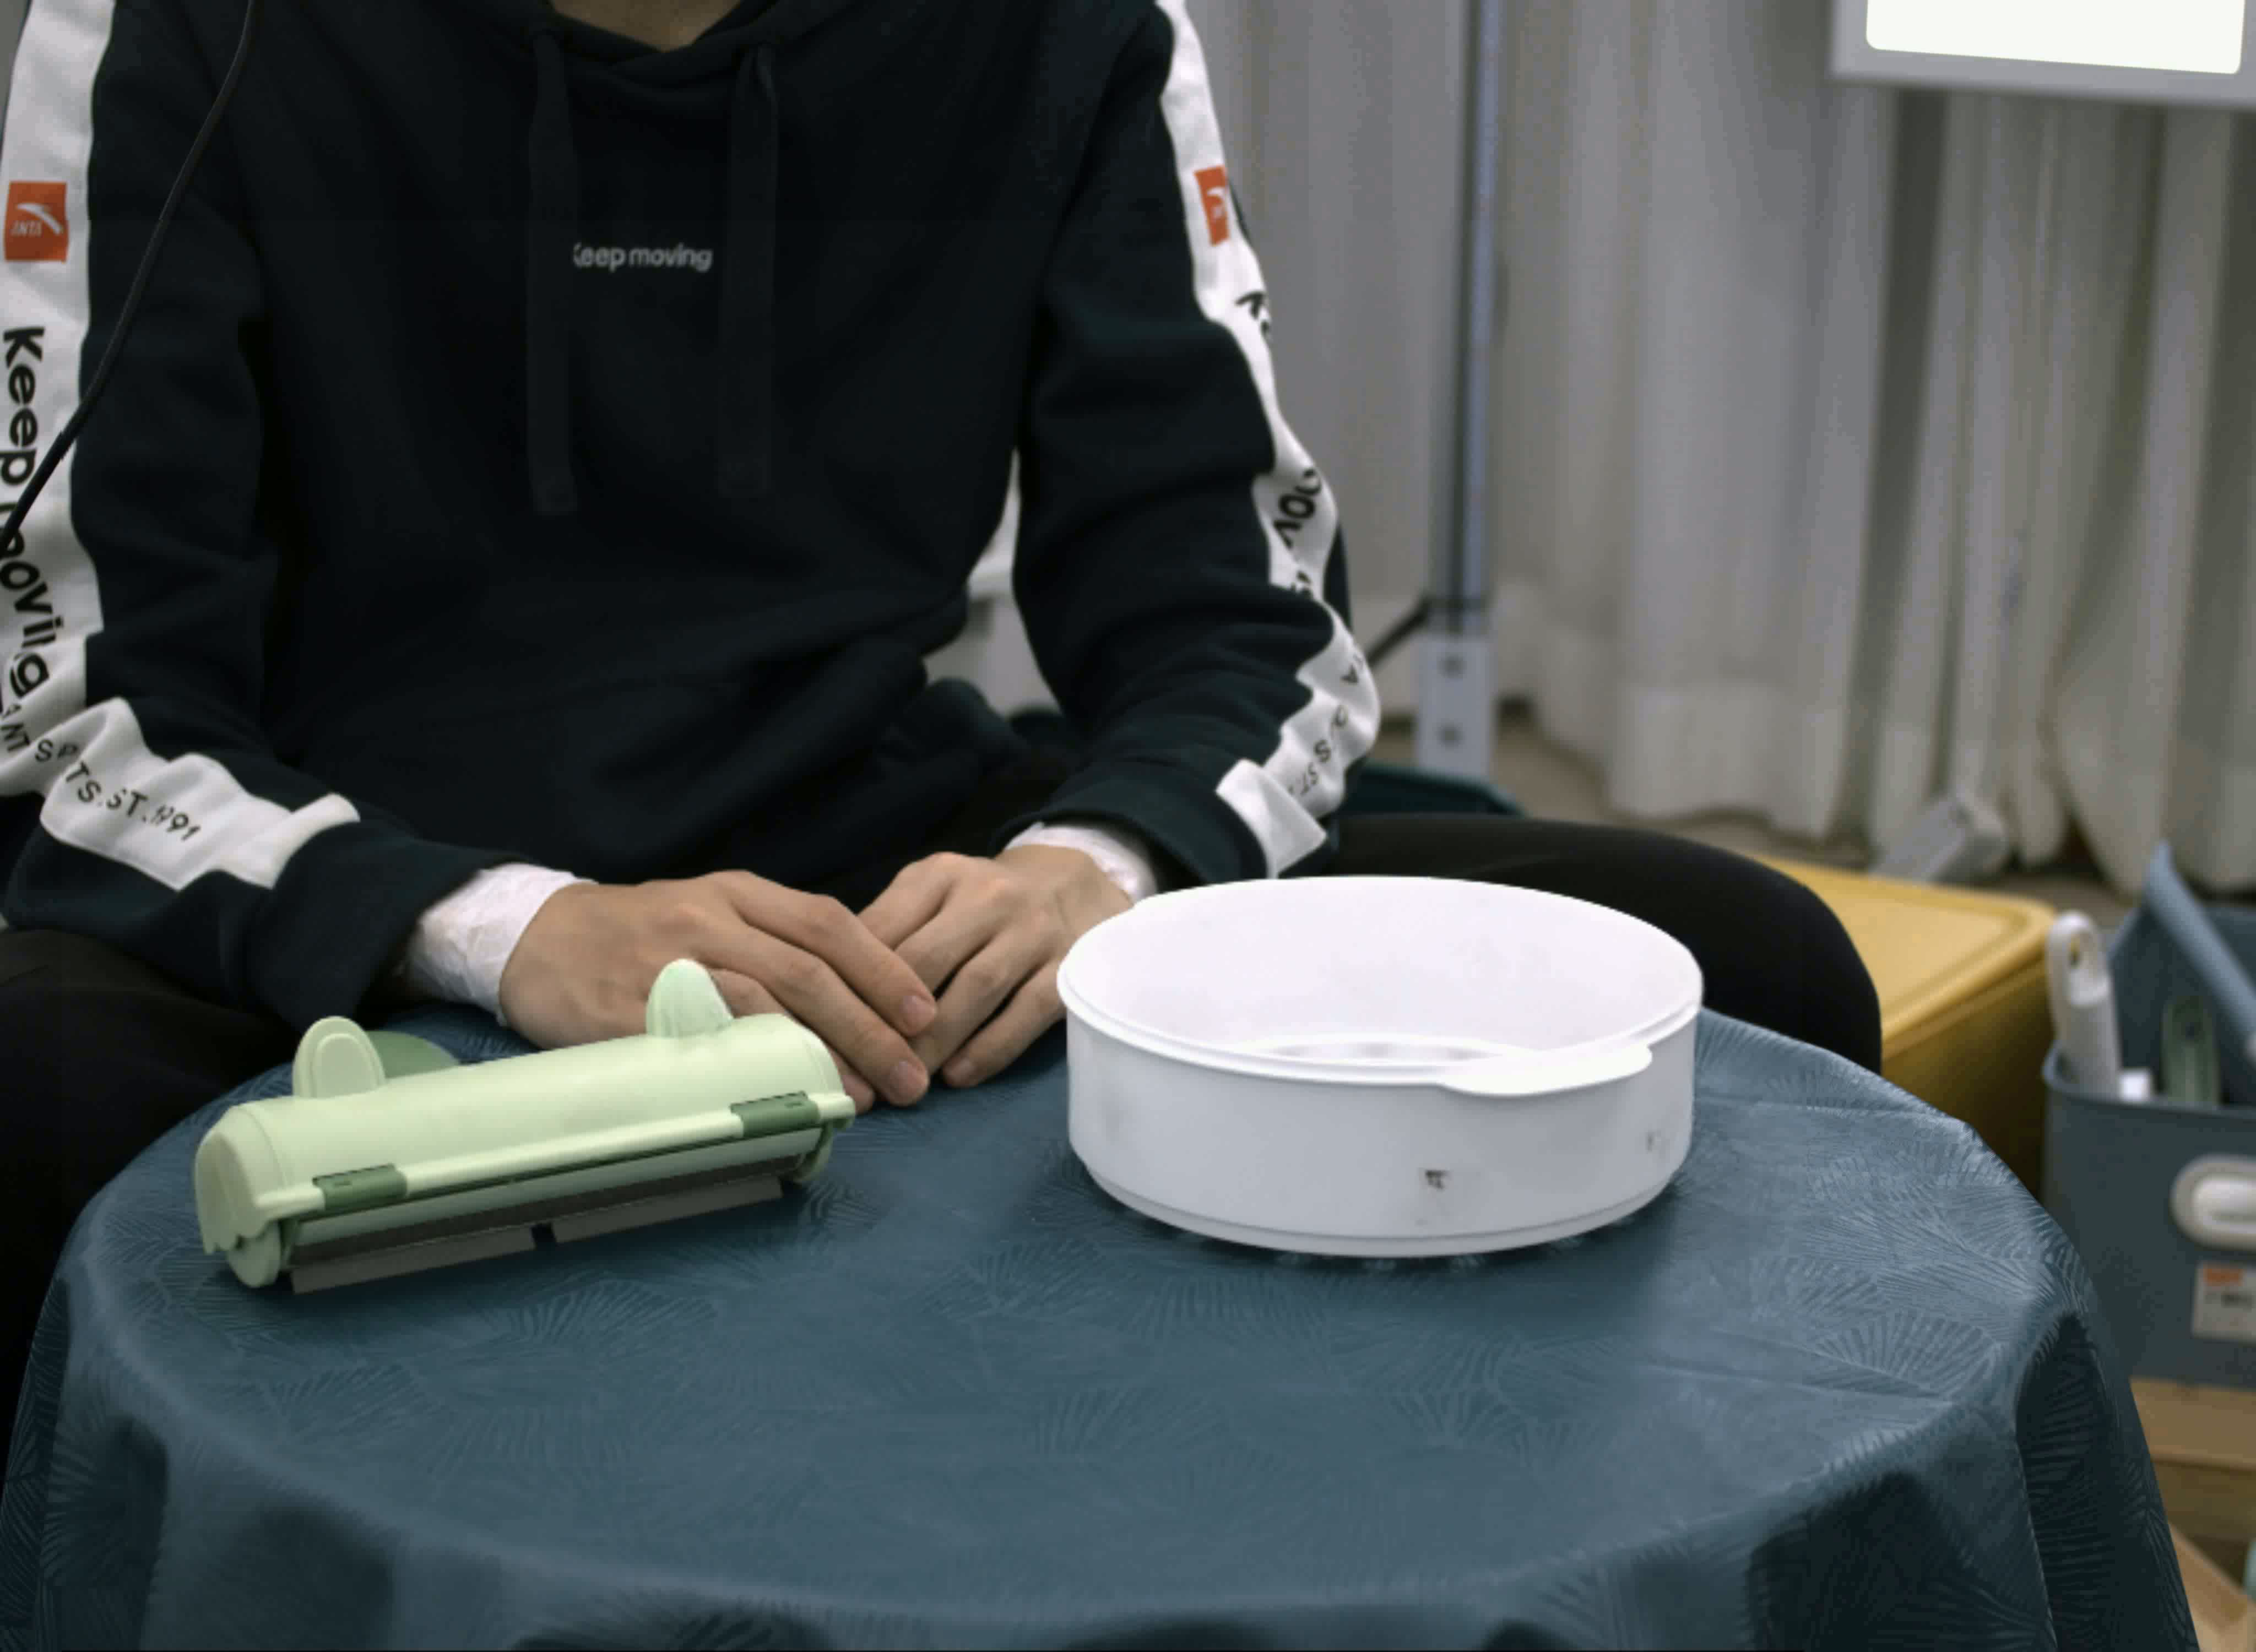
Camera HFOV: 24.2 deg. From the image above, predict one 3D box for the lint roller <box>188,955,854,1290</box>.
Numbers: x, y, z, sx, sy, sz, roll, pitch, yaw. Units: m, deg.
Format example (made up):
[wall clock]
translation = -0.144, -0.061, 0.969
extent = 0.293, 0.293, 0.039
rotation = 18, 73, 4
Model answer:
[lint roller]
translation = -0.209, 0.073, 1.611
extent = 0.199, 0.083, 0.181
rotation = -9, 22, -30

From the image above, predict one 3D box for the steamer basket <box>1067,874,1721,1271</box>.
[steamer basket]
translation = 0.082, 0.075, 1.626
extent = 0.203, 0.070, 0.227
rotation = -9, 20, -28
